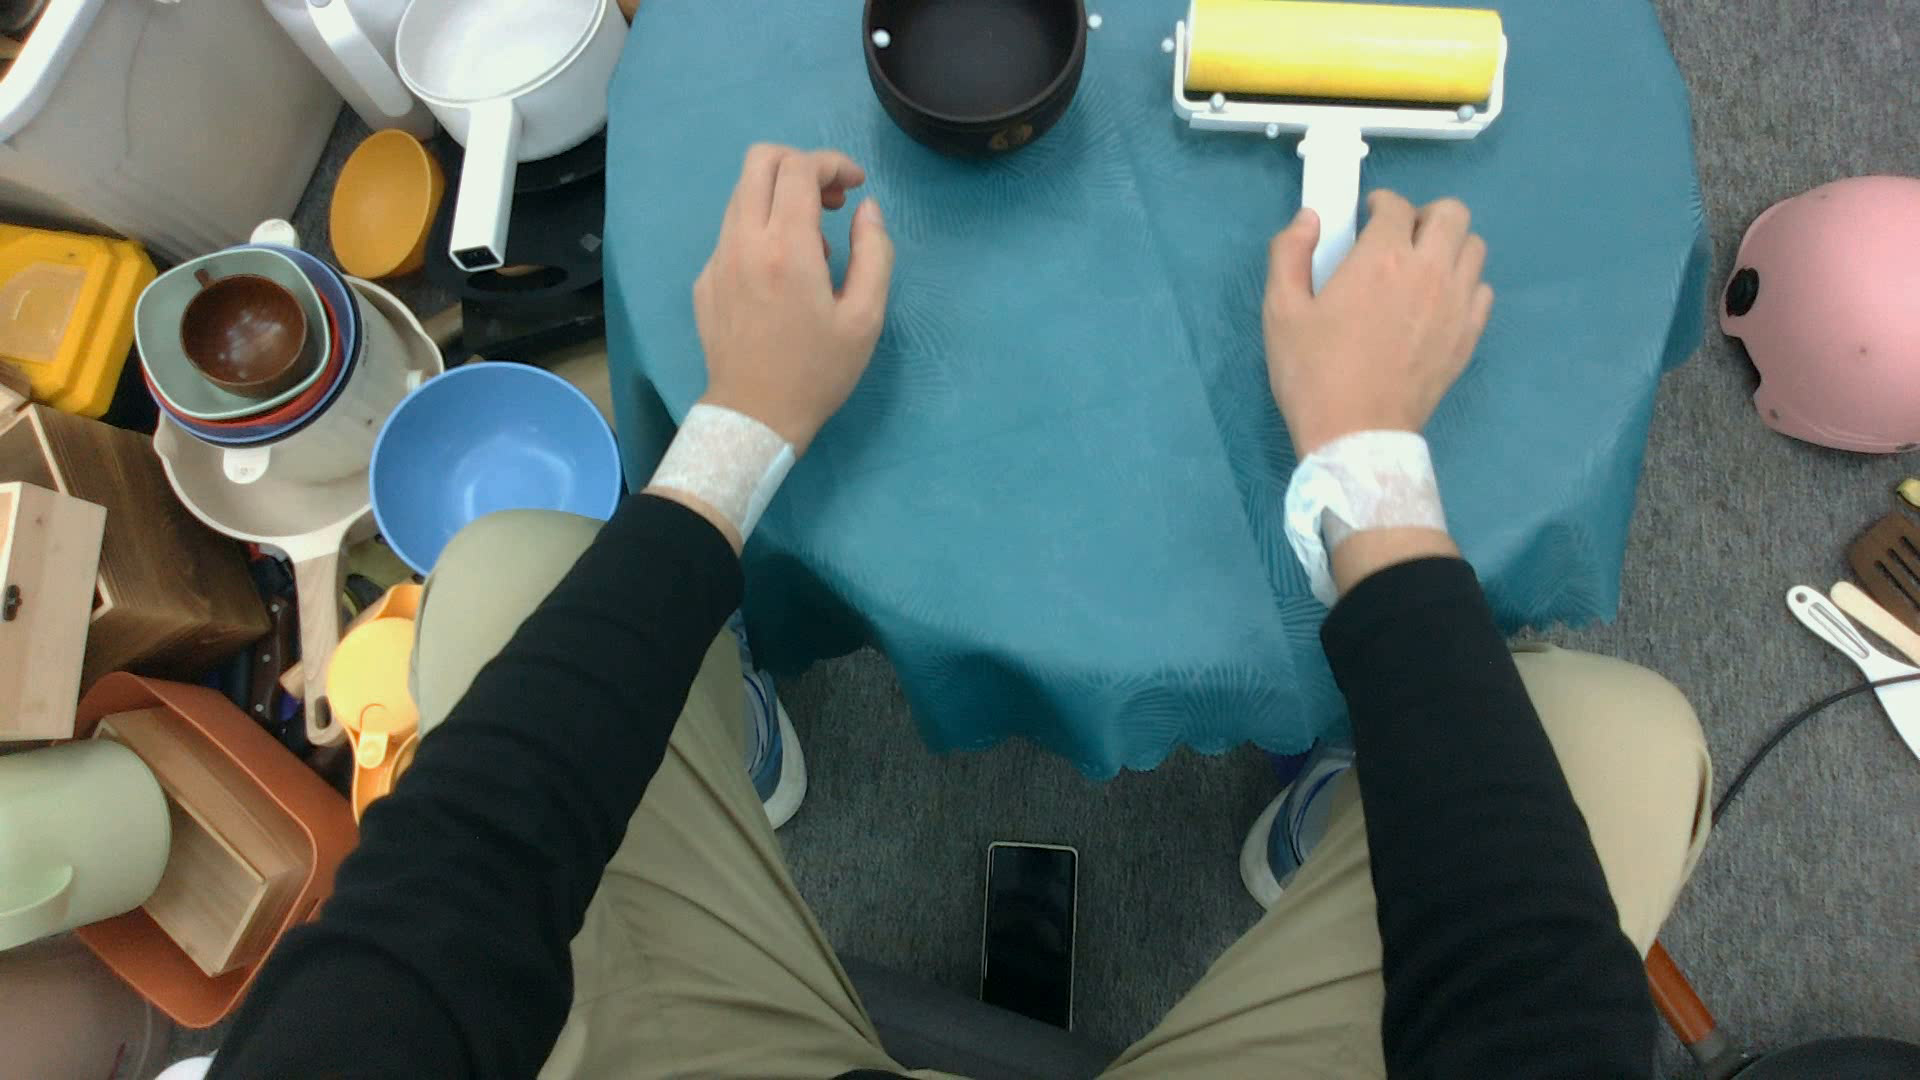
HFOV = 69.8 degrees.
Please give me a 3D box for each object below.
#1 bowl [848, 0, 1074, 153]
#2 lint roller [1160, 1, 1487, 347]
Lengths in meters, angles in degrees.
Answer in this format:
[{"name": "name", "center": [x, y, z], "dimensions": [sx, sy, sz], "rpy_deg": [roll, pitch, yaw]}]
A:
[{"name": "bowl", "center": [0.001, -0.261, 0.741], "dimensions": [0.118, 0.069, 0.118], "rpy_deg": [0, 75, 2]}, {"name": "lint roller", "center": [0.194, -0.200, 0.733], "dimensions": [0.174, 0.051, 0.192], "rpy_deg": [2, 72, 3]}]
